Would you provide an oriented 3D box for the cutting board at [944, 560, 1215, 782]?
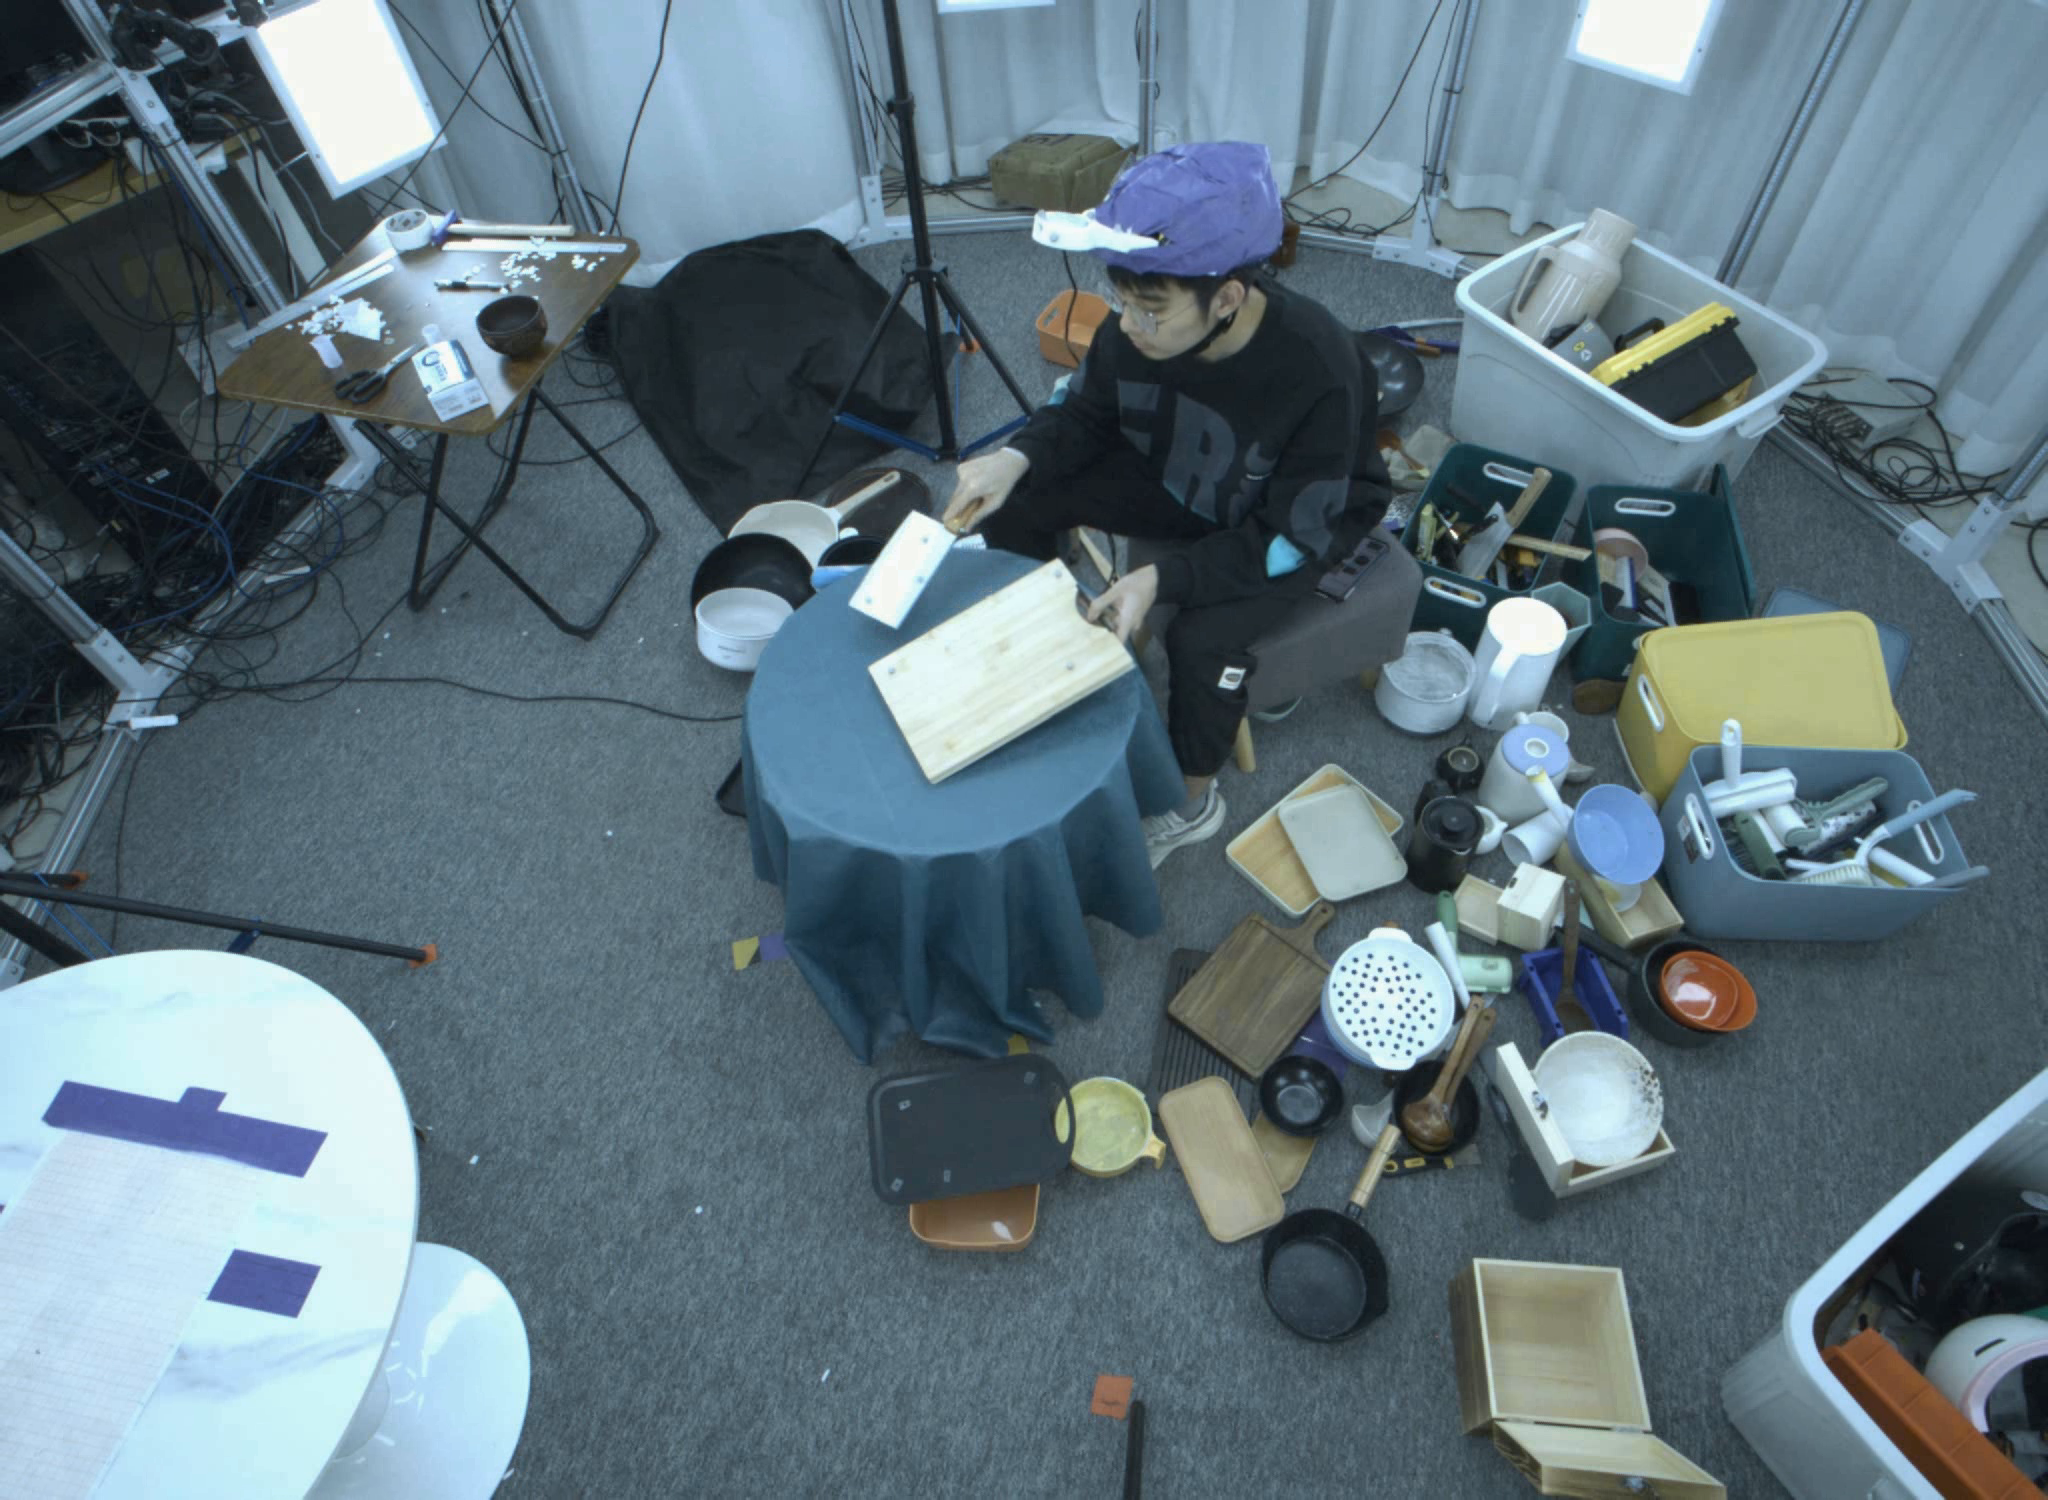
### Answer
[{"bbox_3d":[0.072,-0.123,1.816,0.349,0.024,0.246,-27,57,-1],"label":"cutting board"}]

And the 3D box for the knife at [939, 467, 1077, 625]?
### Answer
[{"bbox_3d":[-0.029,-0.331,1.908,0.092,0.021,0.306,31,77,12],"label":"knife"}]
